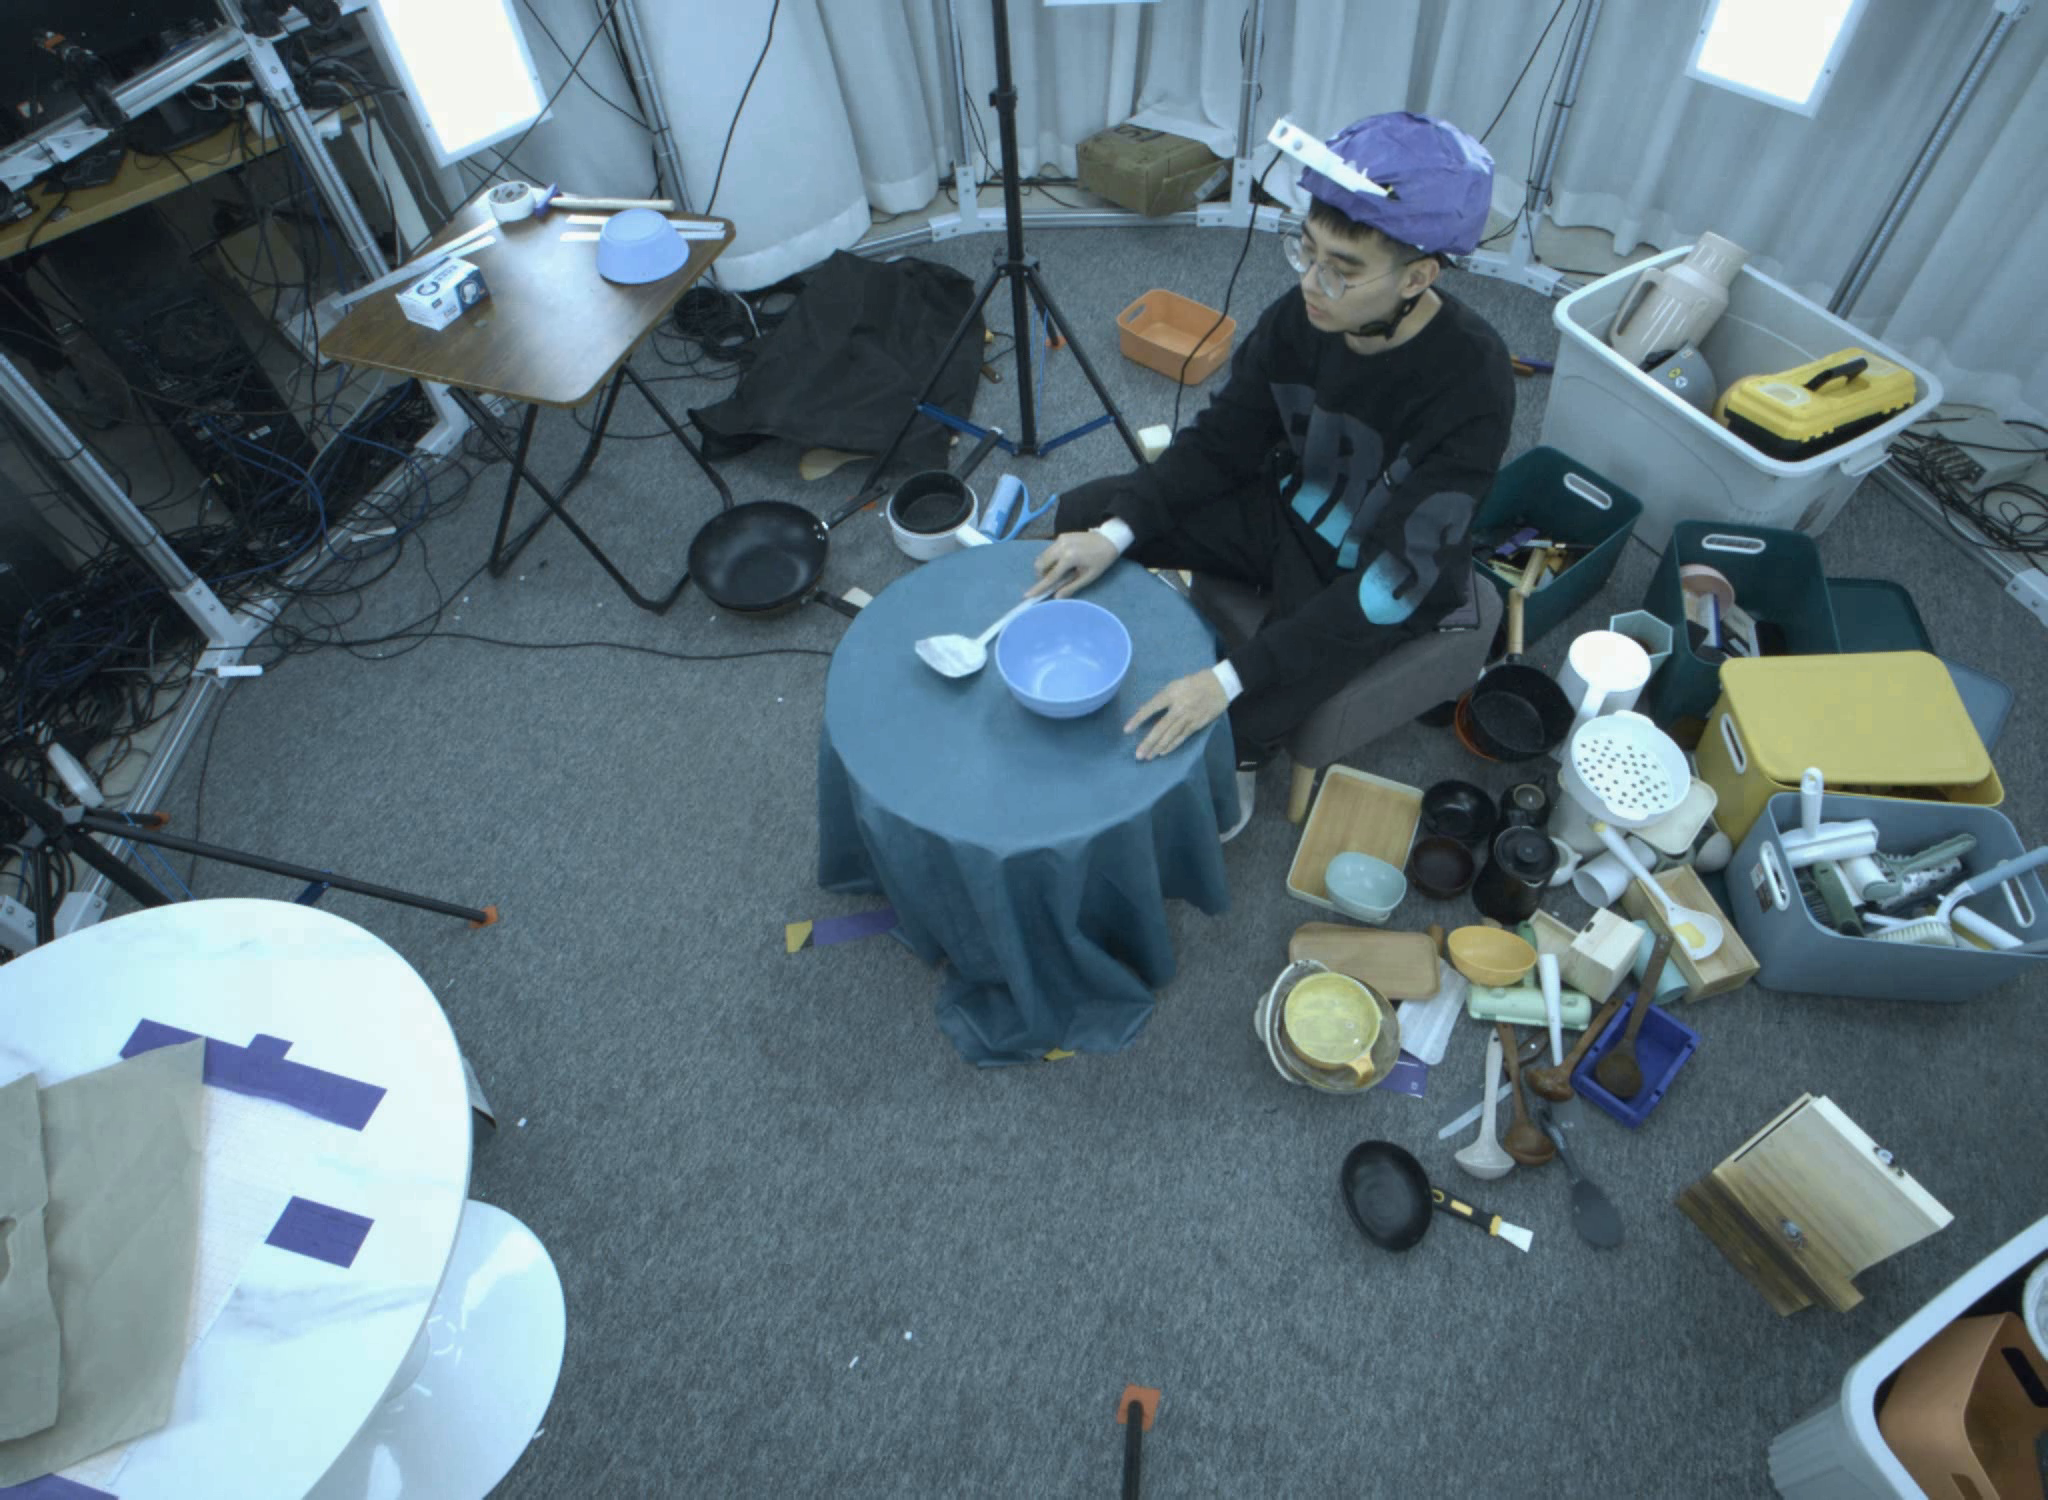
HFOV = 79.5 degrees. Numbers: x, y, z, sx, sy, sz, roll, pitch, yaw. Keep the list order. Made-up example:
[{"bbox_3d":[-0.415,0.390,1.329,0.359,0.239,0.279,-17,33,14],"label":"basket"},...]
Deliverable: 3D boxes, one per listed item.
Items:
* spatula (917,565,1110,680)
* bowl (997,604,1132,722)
[{"bbox_3d":[-0.005,-0.214,1.925,0.367,0.045,0.097,-37,60,-22],"label":"spatula"},{"bbox_3d":[0.062,-0.114,1.818,0.196,0.096,0.194,-1,54,3],"label":"bowl"}]
